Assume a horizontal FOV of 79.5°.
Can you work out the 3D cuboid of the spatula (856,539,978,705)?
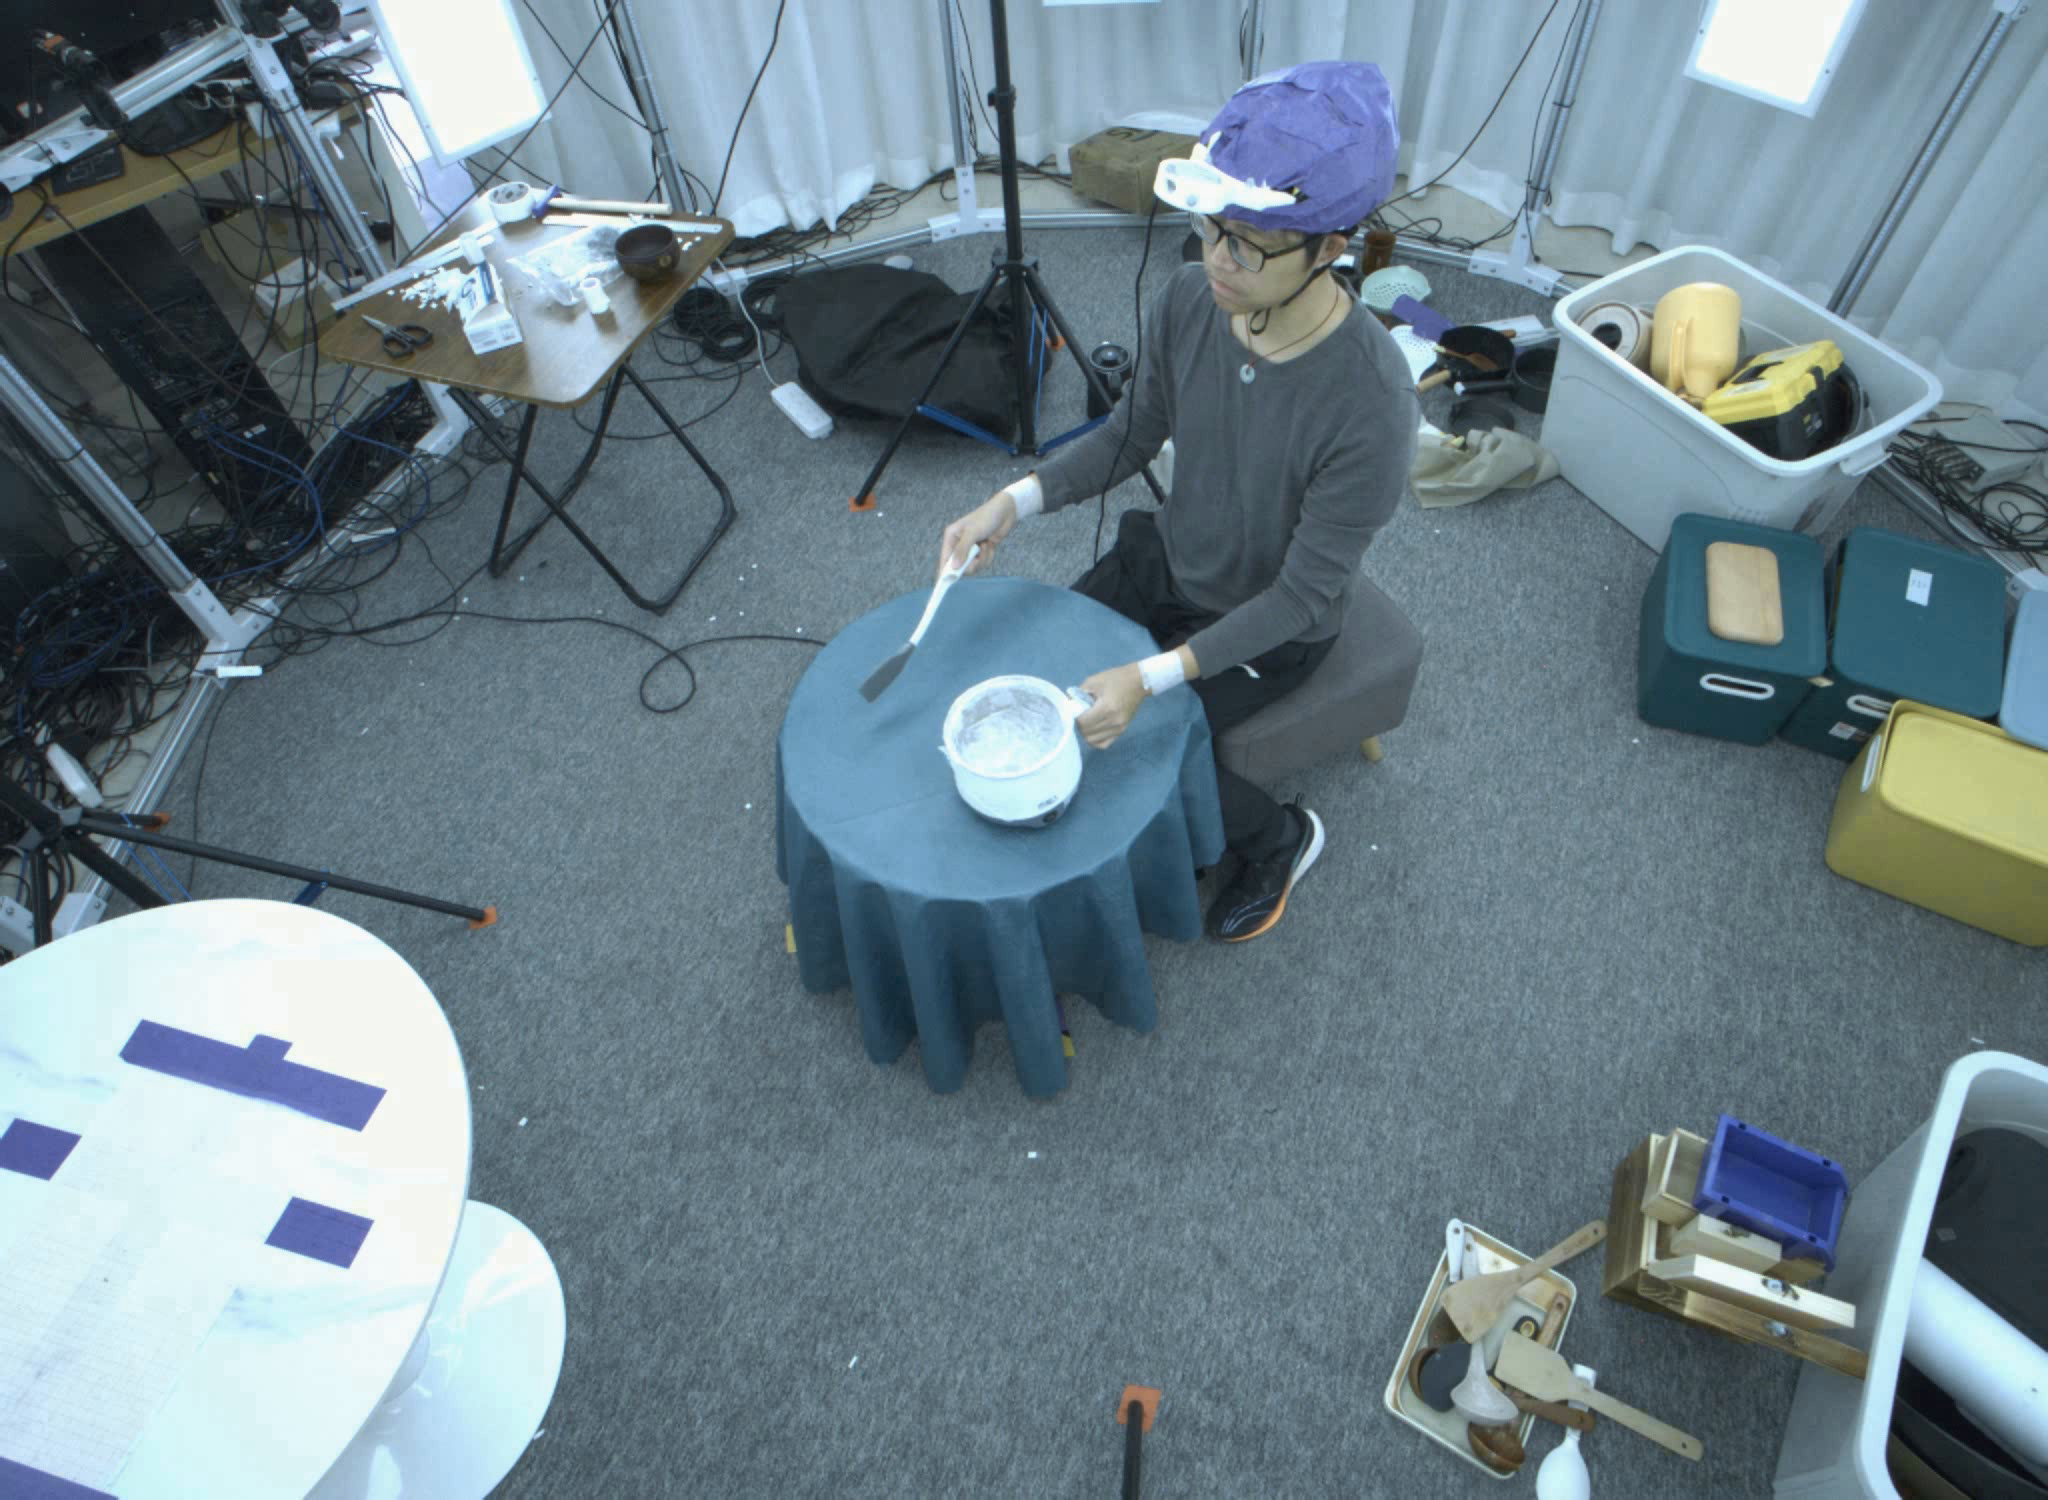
[{"bbox_3d":[-0.156,-0.191,1.811,0.031,0.059,0.288,26,75,23],"label":"spatula"}]

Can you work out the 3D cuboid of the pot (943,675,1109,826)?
[{"bbox_3d":[0.011,-0.009,1.709,0.235,0.138,0.175,-29,55,-14],"label":"pot"}]
